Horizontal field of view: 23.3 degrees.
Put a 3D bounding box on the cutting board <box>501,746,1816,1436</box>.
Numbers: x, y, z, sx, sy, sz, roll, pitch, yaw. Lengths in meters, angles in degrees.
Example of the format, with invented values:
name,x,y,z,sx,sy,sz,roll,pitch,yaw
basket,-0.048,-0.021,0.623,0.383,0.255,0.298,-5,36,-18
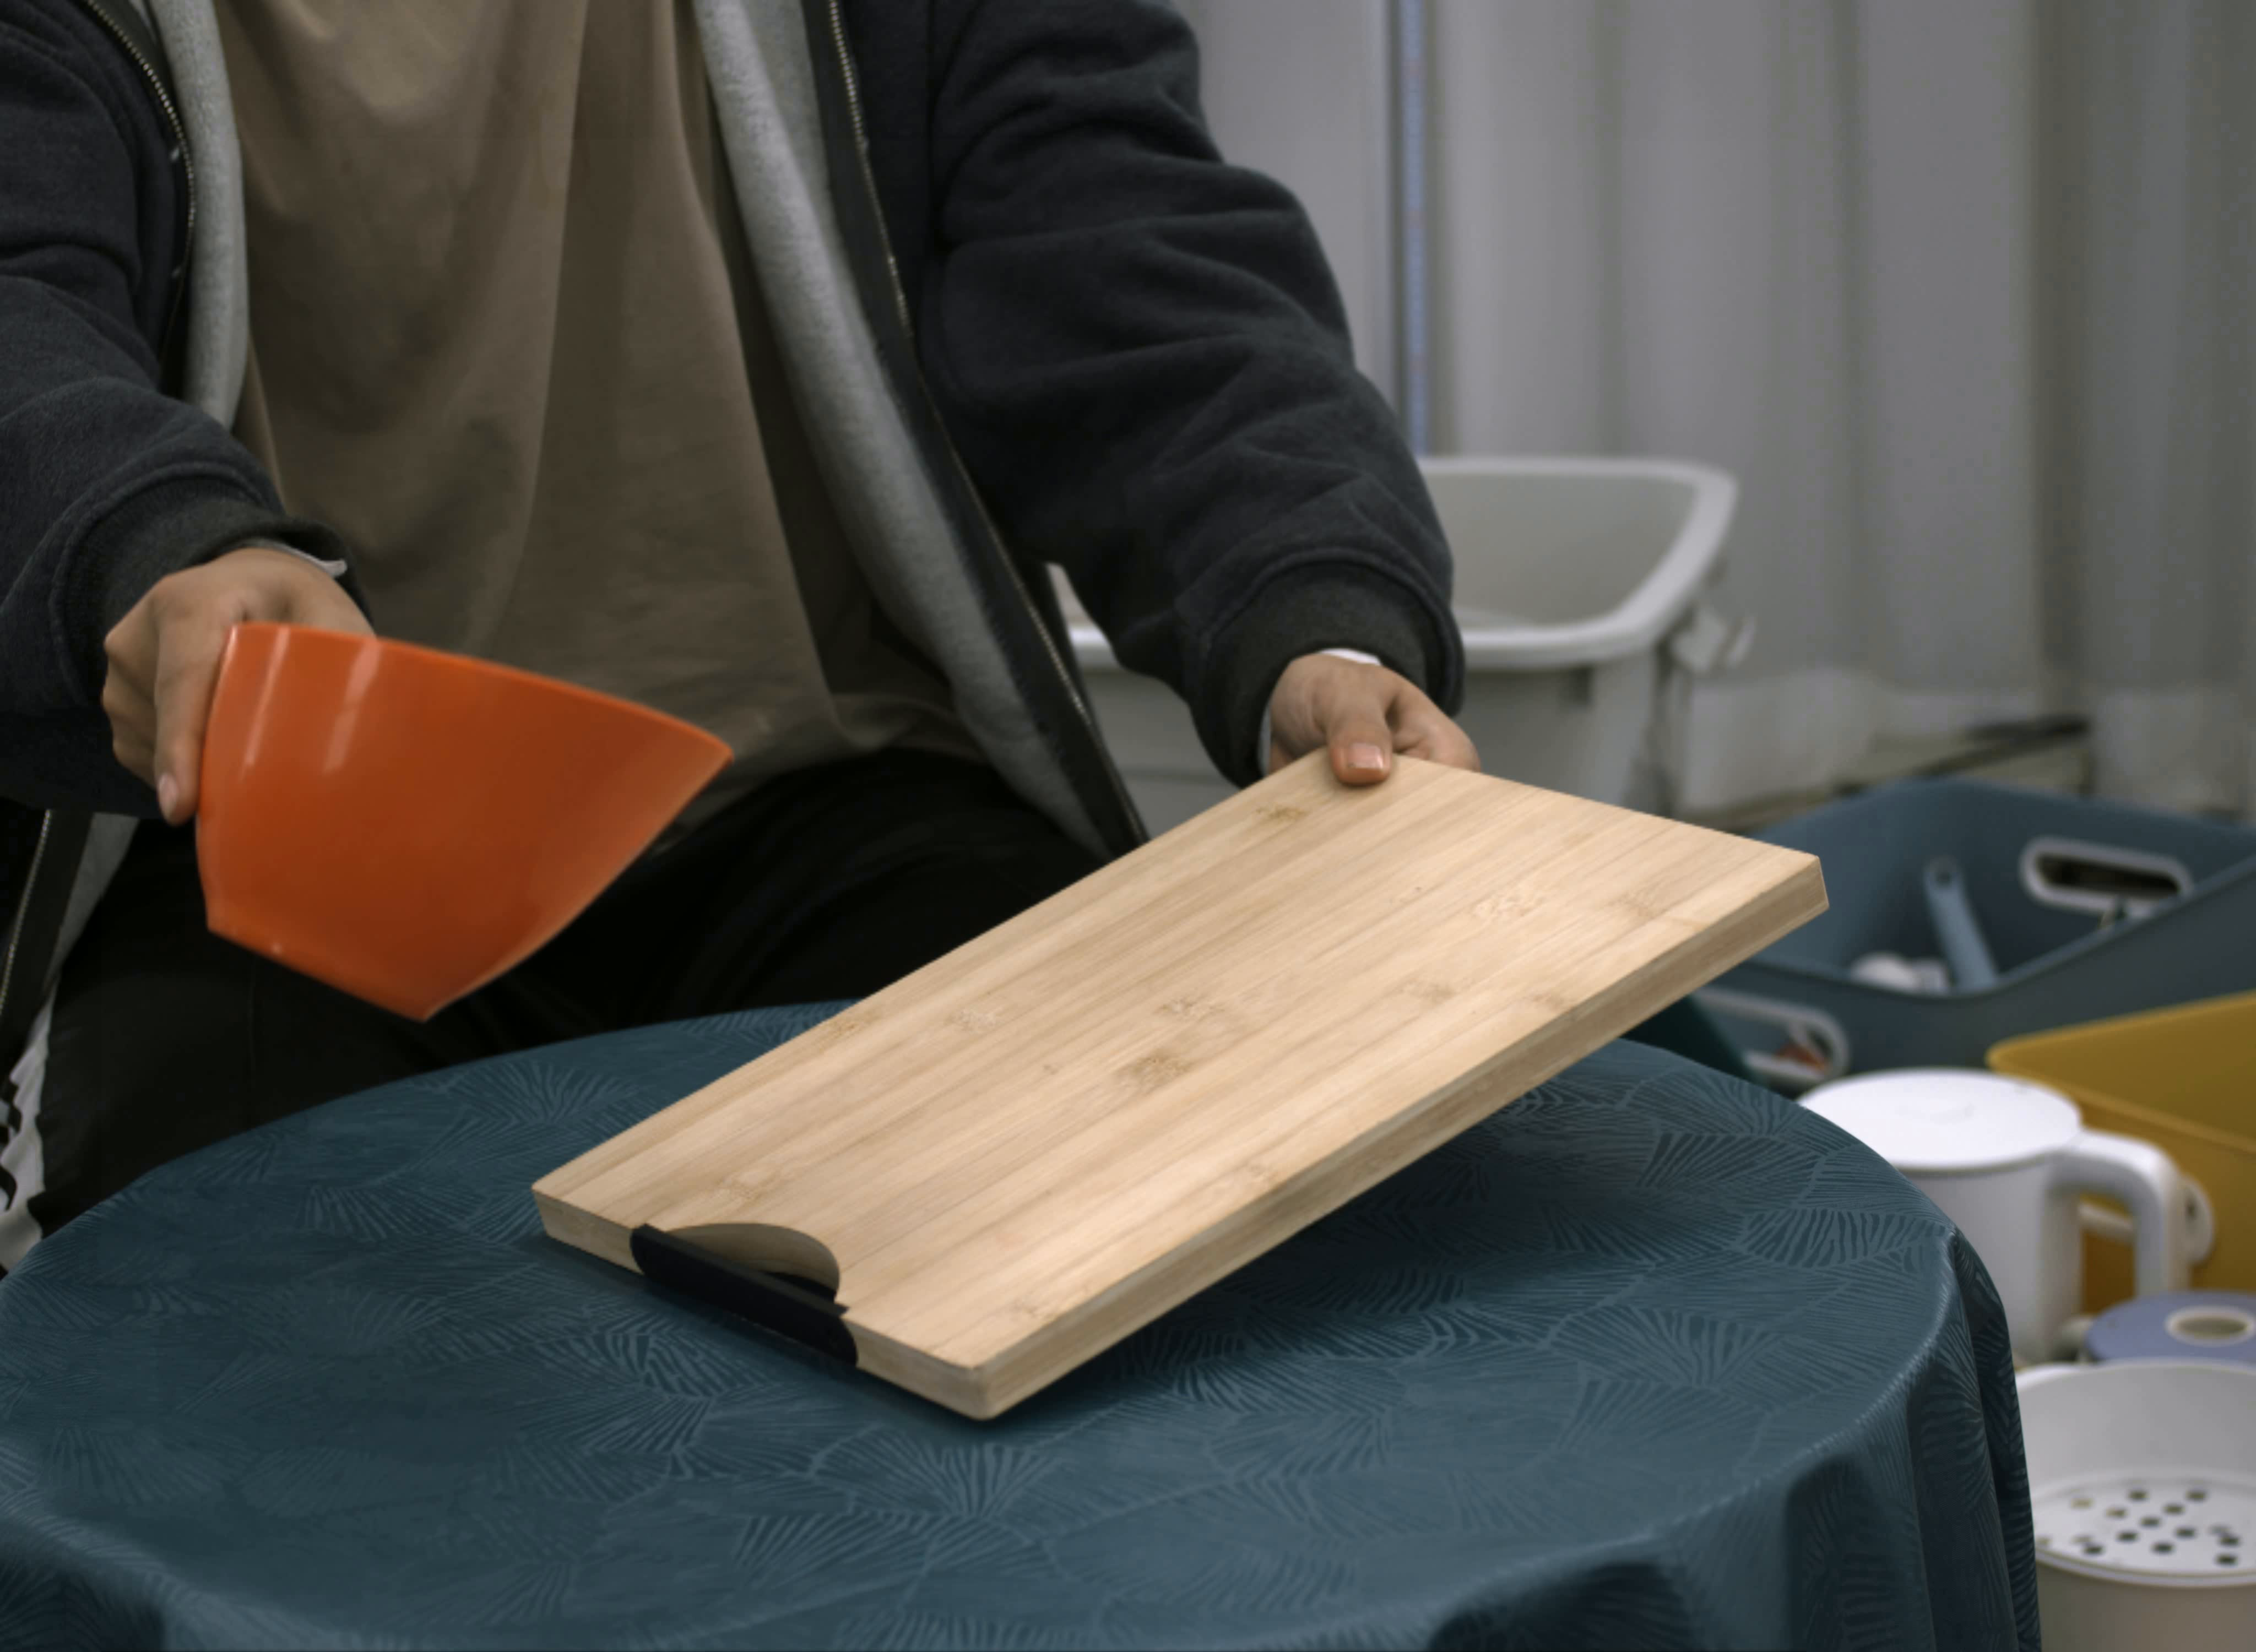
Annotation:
name,x,y,z,sx,sy,sz,roll,pitch,yaw
cutting board,0.011,0.072,1.690,0.349,0.023,0.252,-29,25,-31

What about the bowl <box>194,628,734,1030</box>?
name,x,y,z,sx,sy,sz,roll,pitch,yaw
bowl,-0.199,0.002,1.552,0.148,0.105,0.147,23,-4,1
